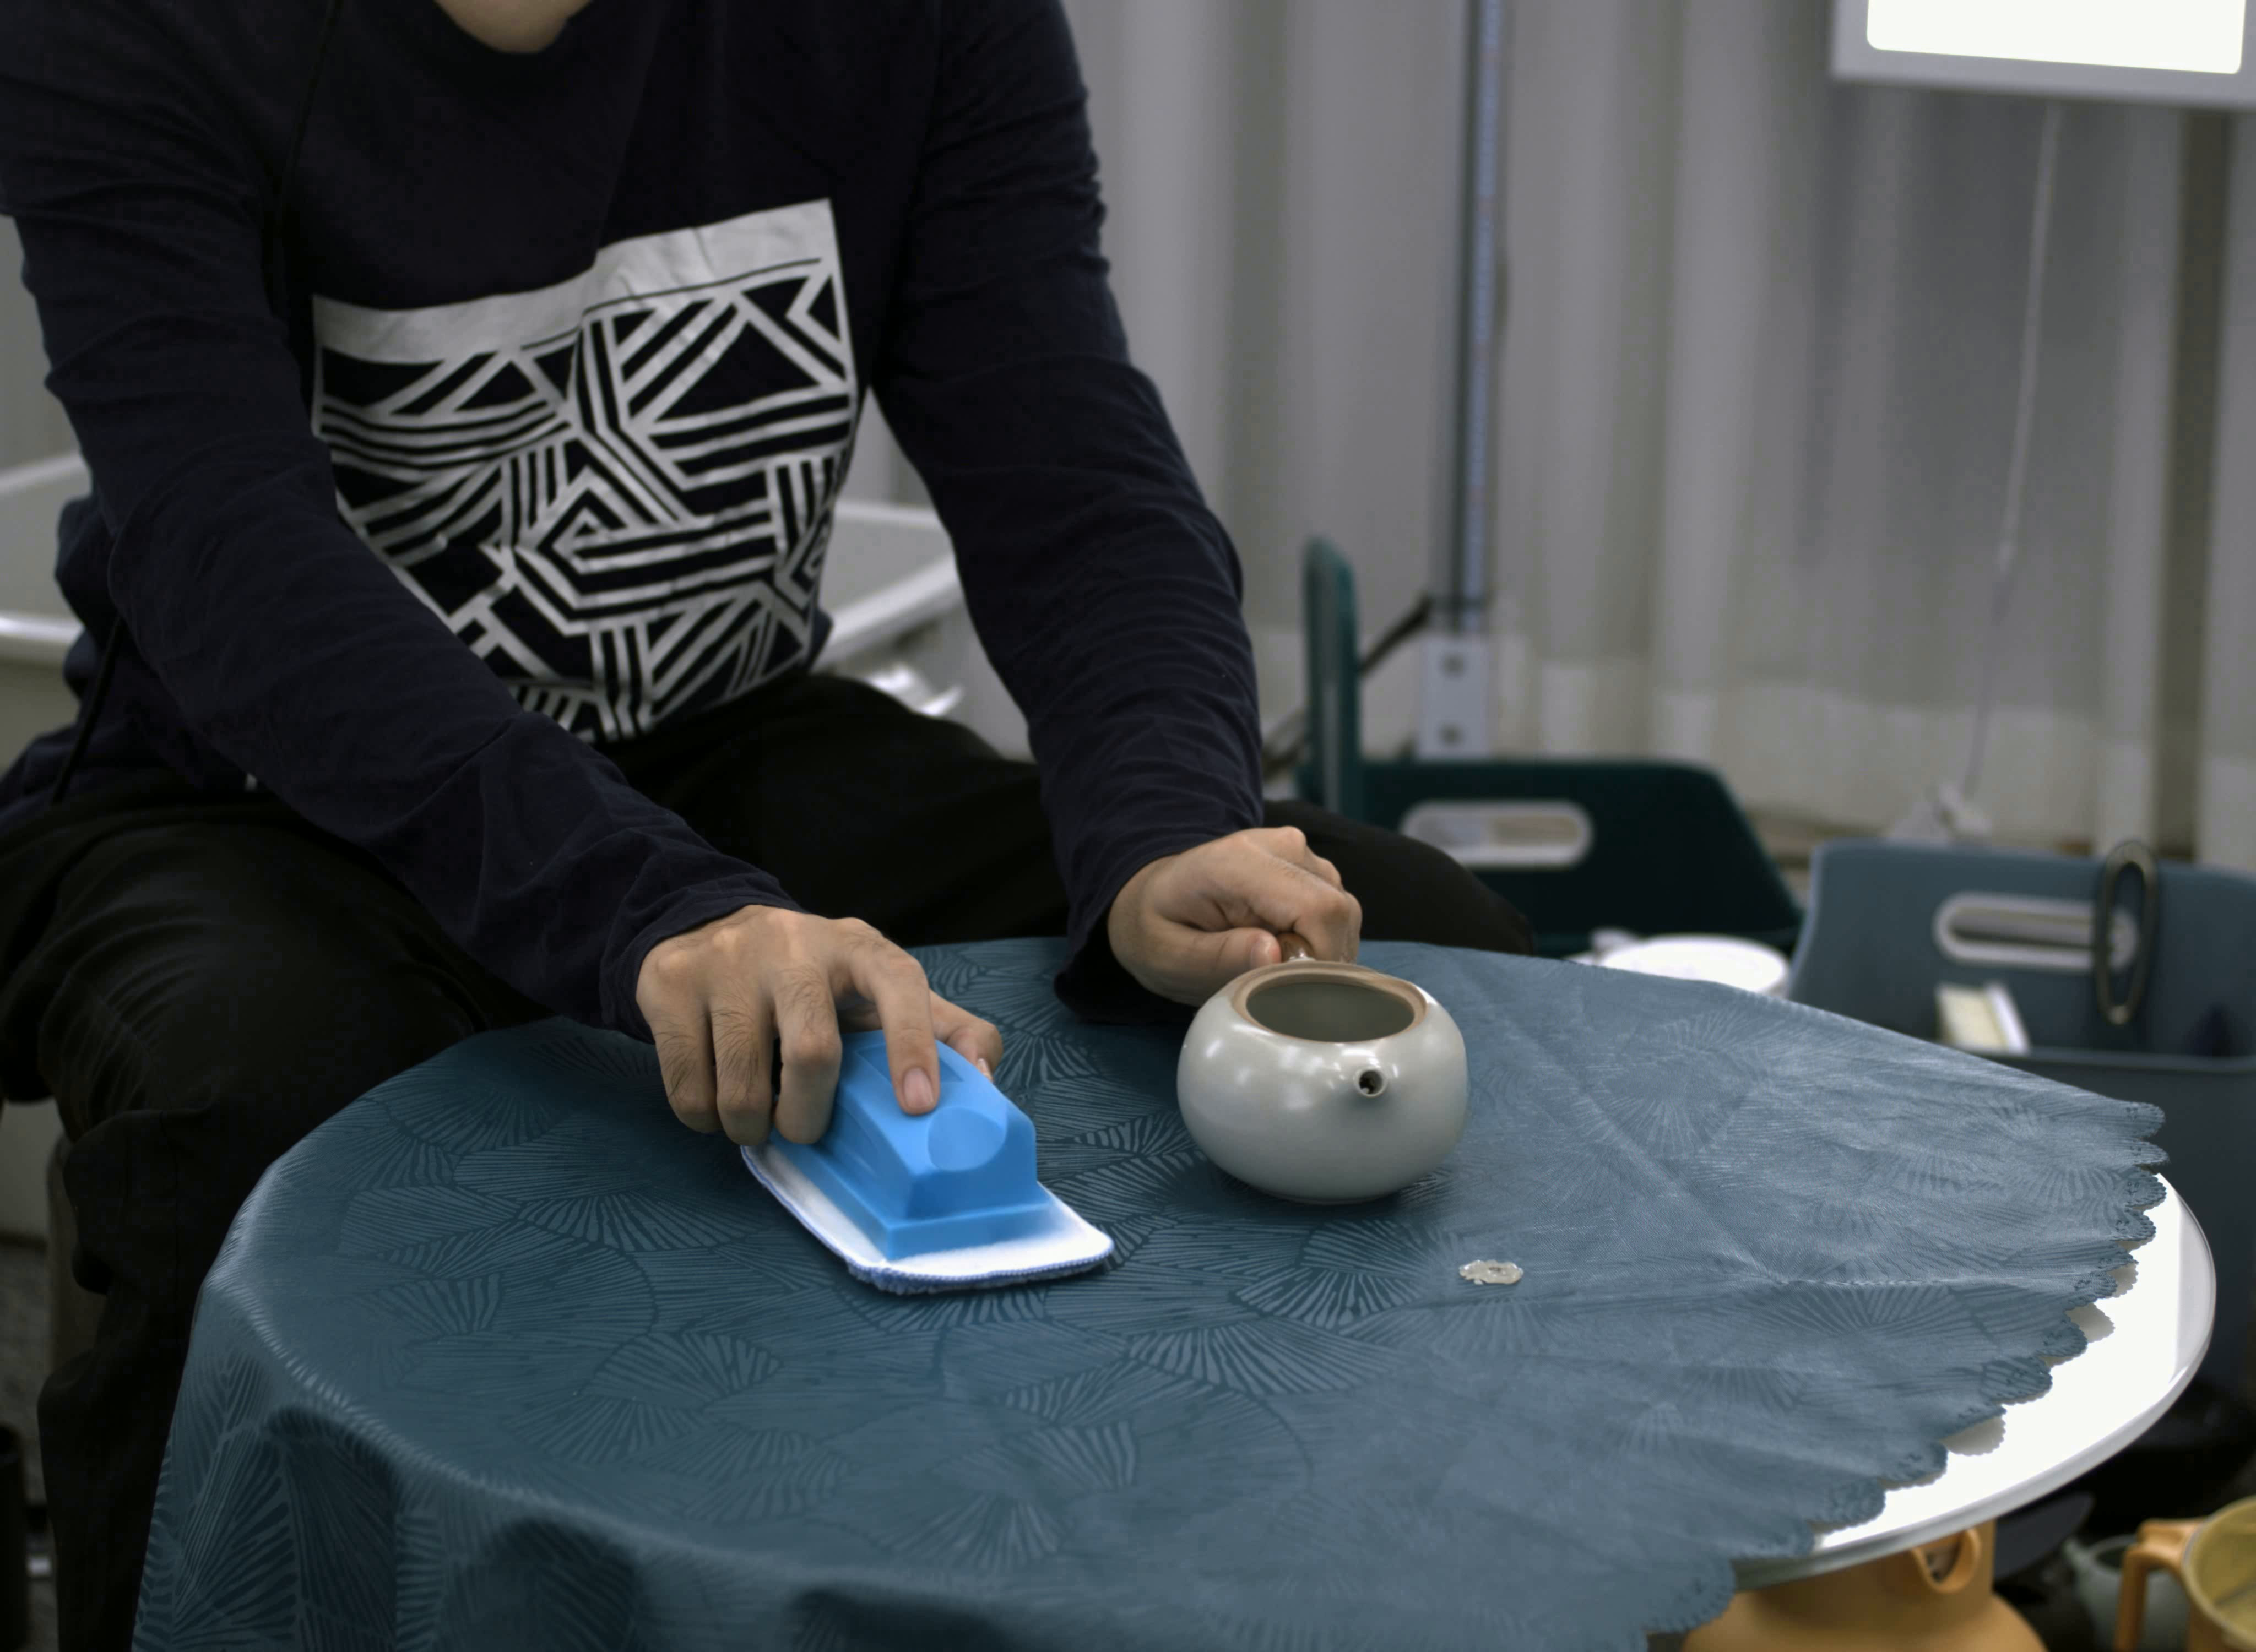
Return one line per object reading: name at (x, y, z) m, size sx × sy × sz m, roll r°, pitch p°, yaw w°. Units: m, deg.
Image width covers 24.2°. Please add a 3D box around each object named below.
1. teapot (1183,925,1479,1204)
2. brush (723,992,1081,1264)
teapot at (0.060, 0.074, 1.636) m, size 0.092 × 0.060 × 0.126 m, roll -5°, pitch 26°, yaw -14°
brush at (-0.067, 0.089, 1.594) m, size 0.084 × 0.056 × 0.142 m, roll -2°, pitch 18°, yaw -20°
